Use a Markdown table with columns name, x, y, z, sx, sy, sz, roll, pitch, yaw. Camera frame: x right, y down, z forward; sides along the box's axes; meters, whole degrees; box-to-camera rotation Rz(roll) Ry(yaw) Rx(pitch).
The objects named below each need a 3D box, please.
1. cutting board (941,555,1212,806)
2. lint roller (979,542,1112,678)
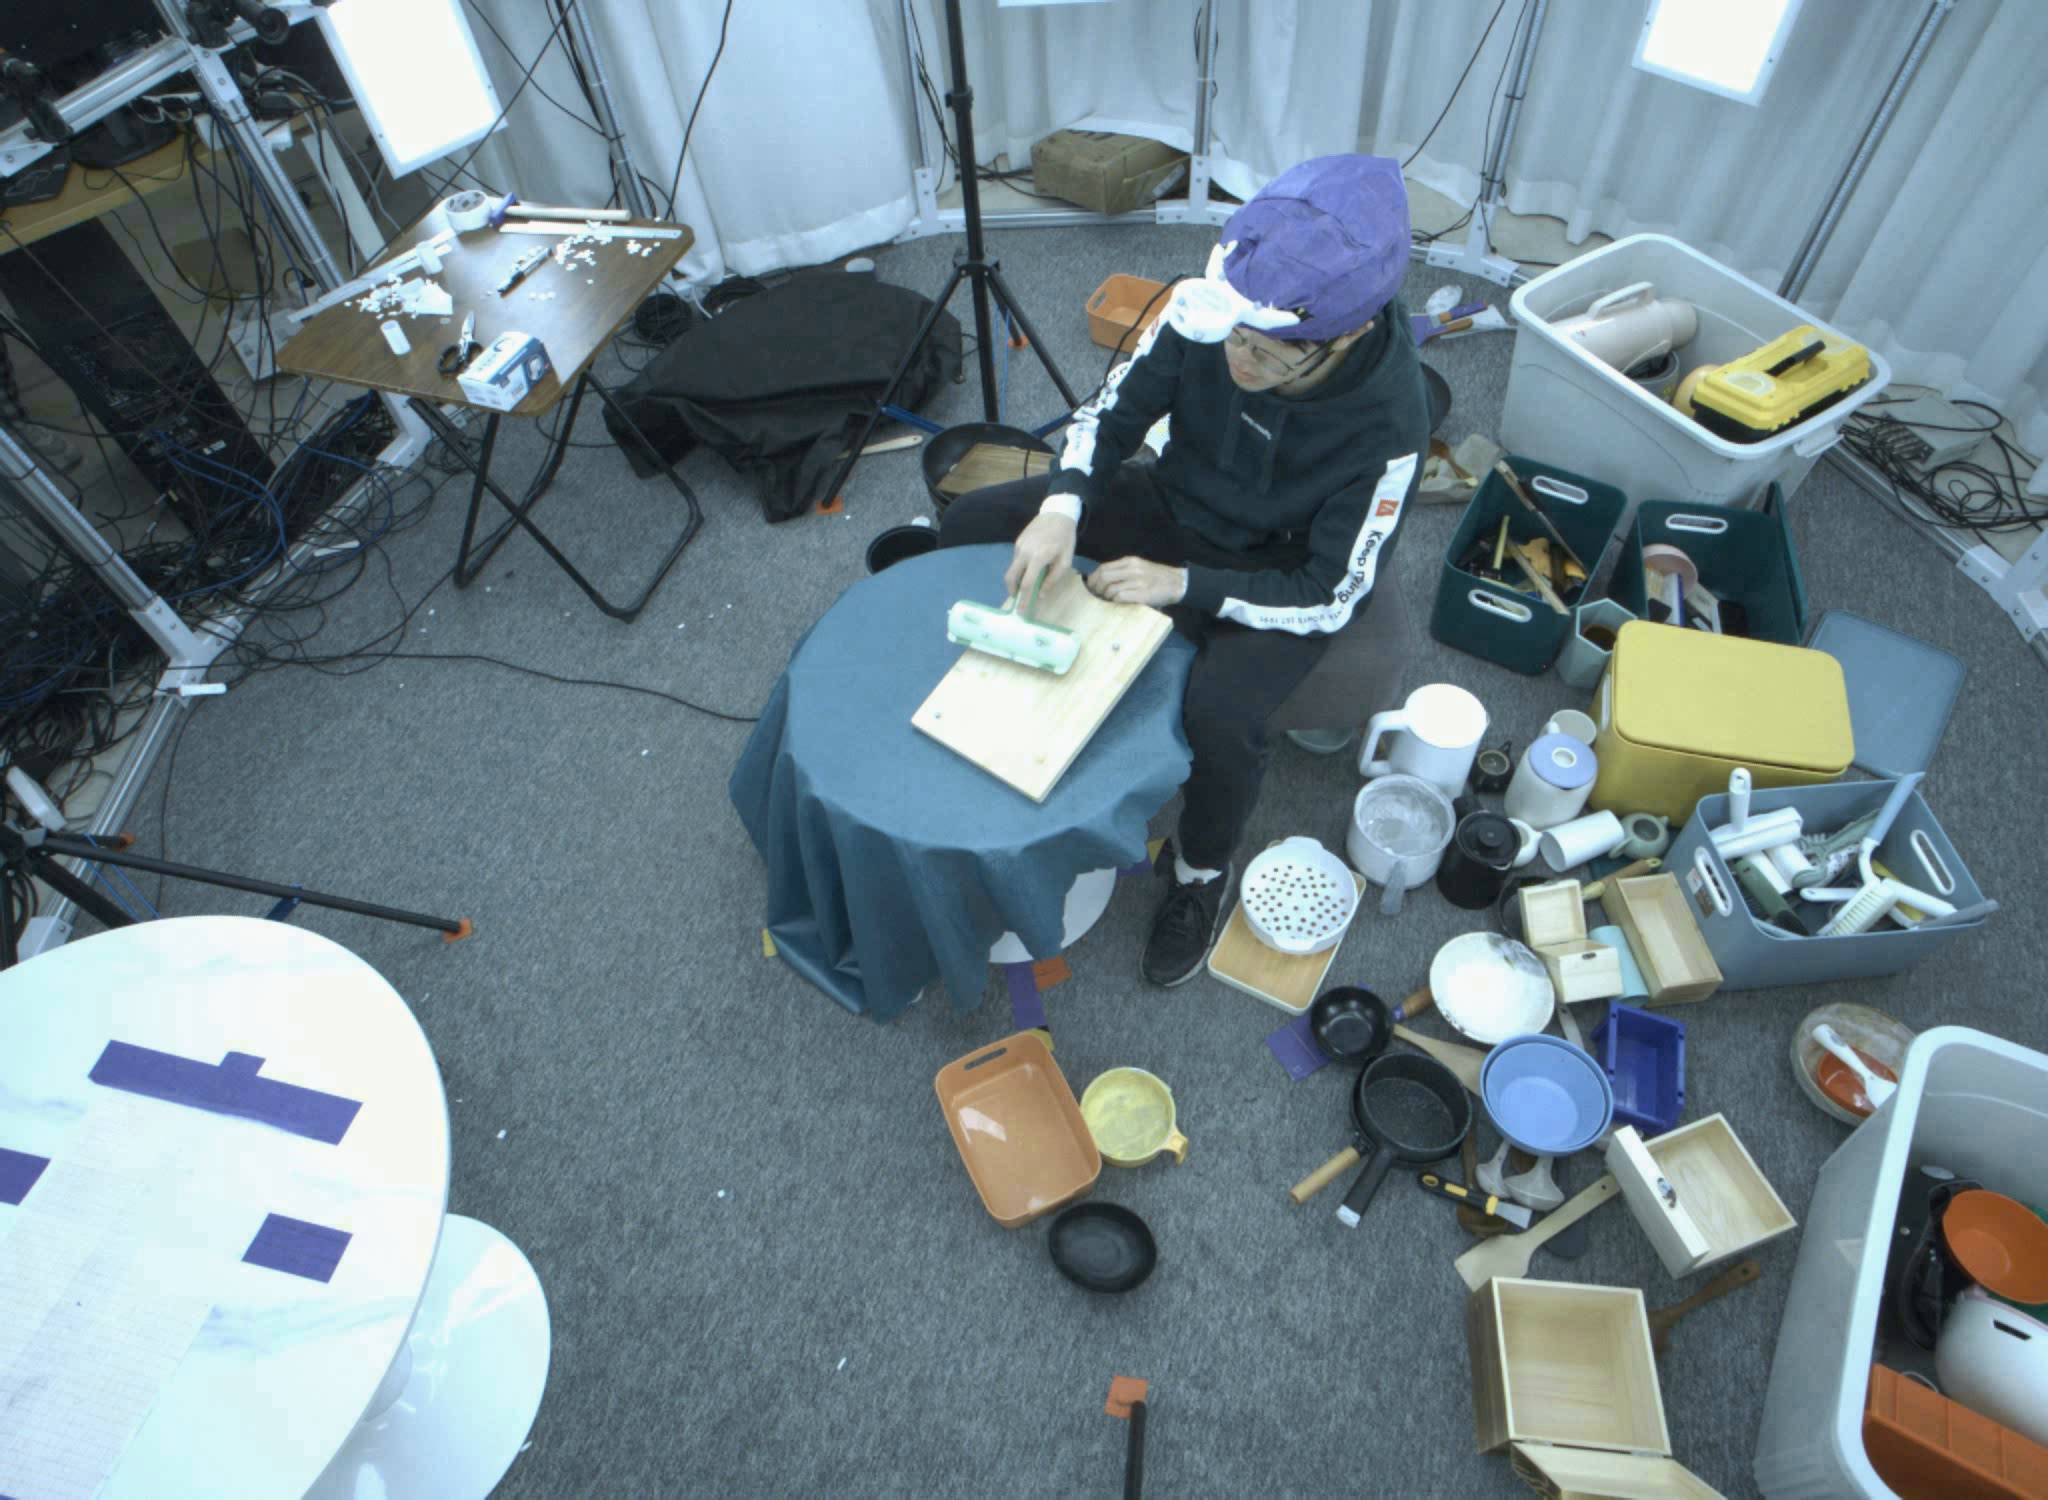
| name | x | y | z | sx | sy | sz | roll | pitch | yaw |
| --- | --- | --- | --- | --- | --- | --- | --- | --- | --- |
| cutting board | 0.075 | -0.110 | 1.803 | 0.246 | 0.024 | 0.349 | 32 | 74 | 22 |
| lint roller | 0.044 | -0.219 | 1.782 | 0.196 | 0.083 | 0.183 | 20 | 97 | 18 |
